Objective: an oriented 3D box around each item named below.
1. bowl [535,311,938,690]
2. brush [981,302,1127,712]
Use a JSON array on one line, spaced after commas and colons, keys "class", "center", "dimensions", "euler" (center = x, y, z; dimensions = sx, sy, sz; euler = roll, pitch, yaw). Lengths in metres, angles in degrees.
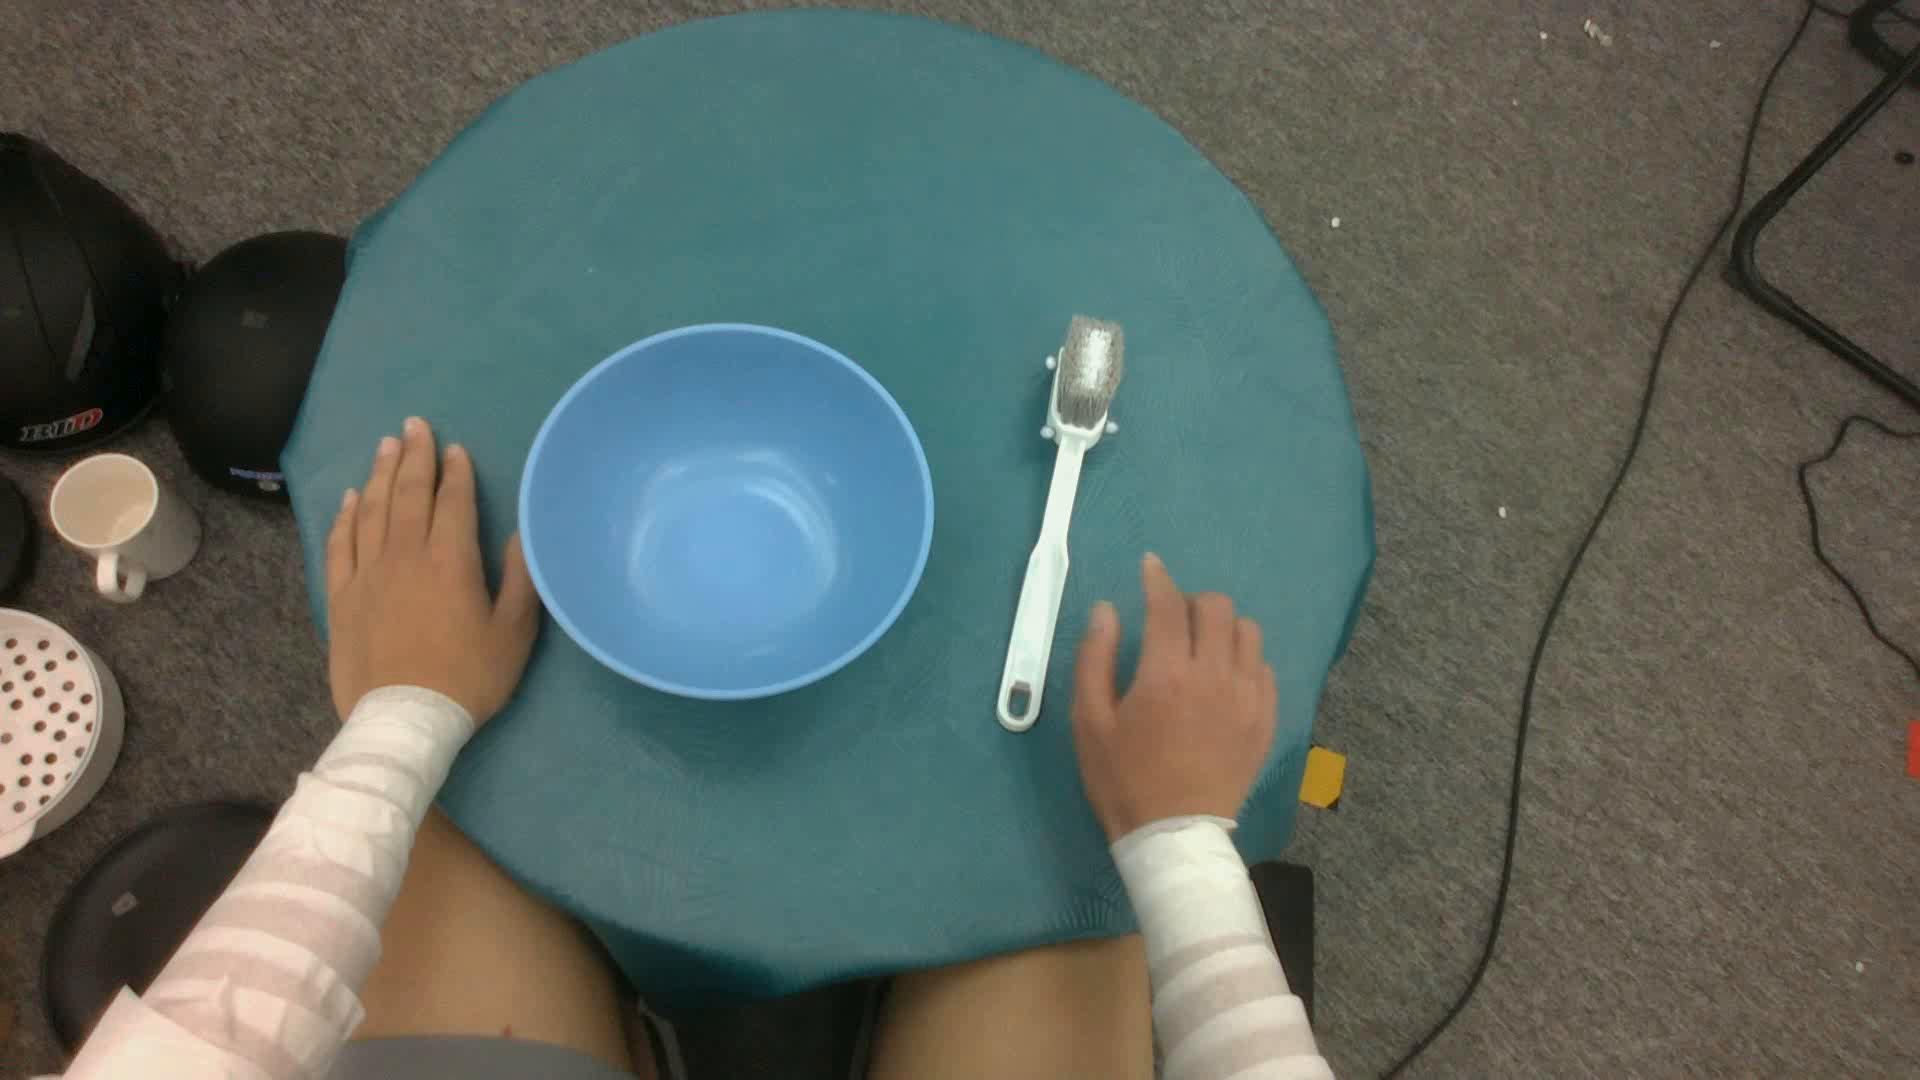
[{"class": "bowl", "center": [-0.114, -0.010, 0.720], "dimensions": [0.196, 0.095, 0.197], "euler": [3, 72, -9]}, {"class": "brush", "center": [0.054, -0.024, 0.769], "dimensions": [0.034, 0.050, 0.244], "euler": [17, 69, -5]}]
